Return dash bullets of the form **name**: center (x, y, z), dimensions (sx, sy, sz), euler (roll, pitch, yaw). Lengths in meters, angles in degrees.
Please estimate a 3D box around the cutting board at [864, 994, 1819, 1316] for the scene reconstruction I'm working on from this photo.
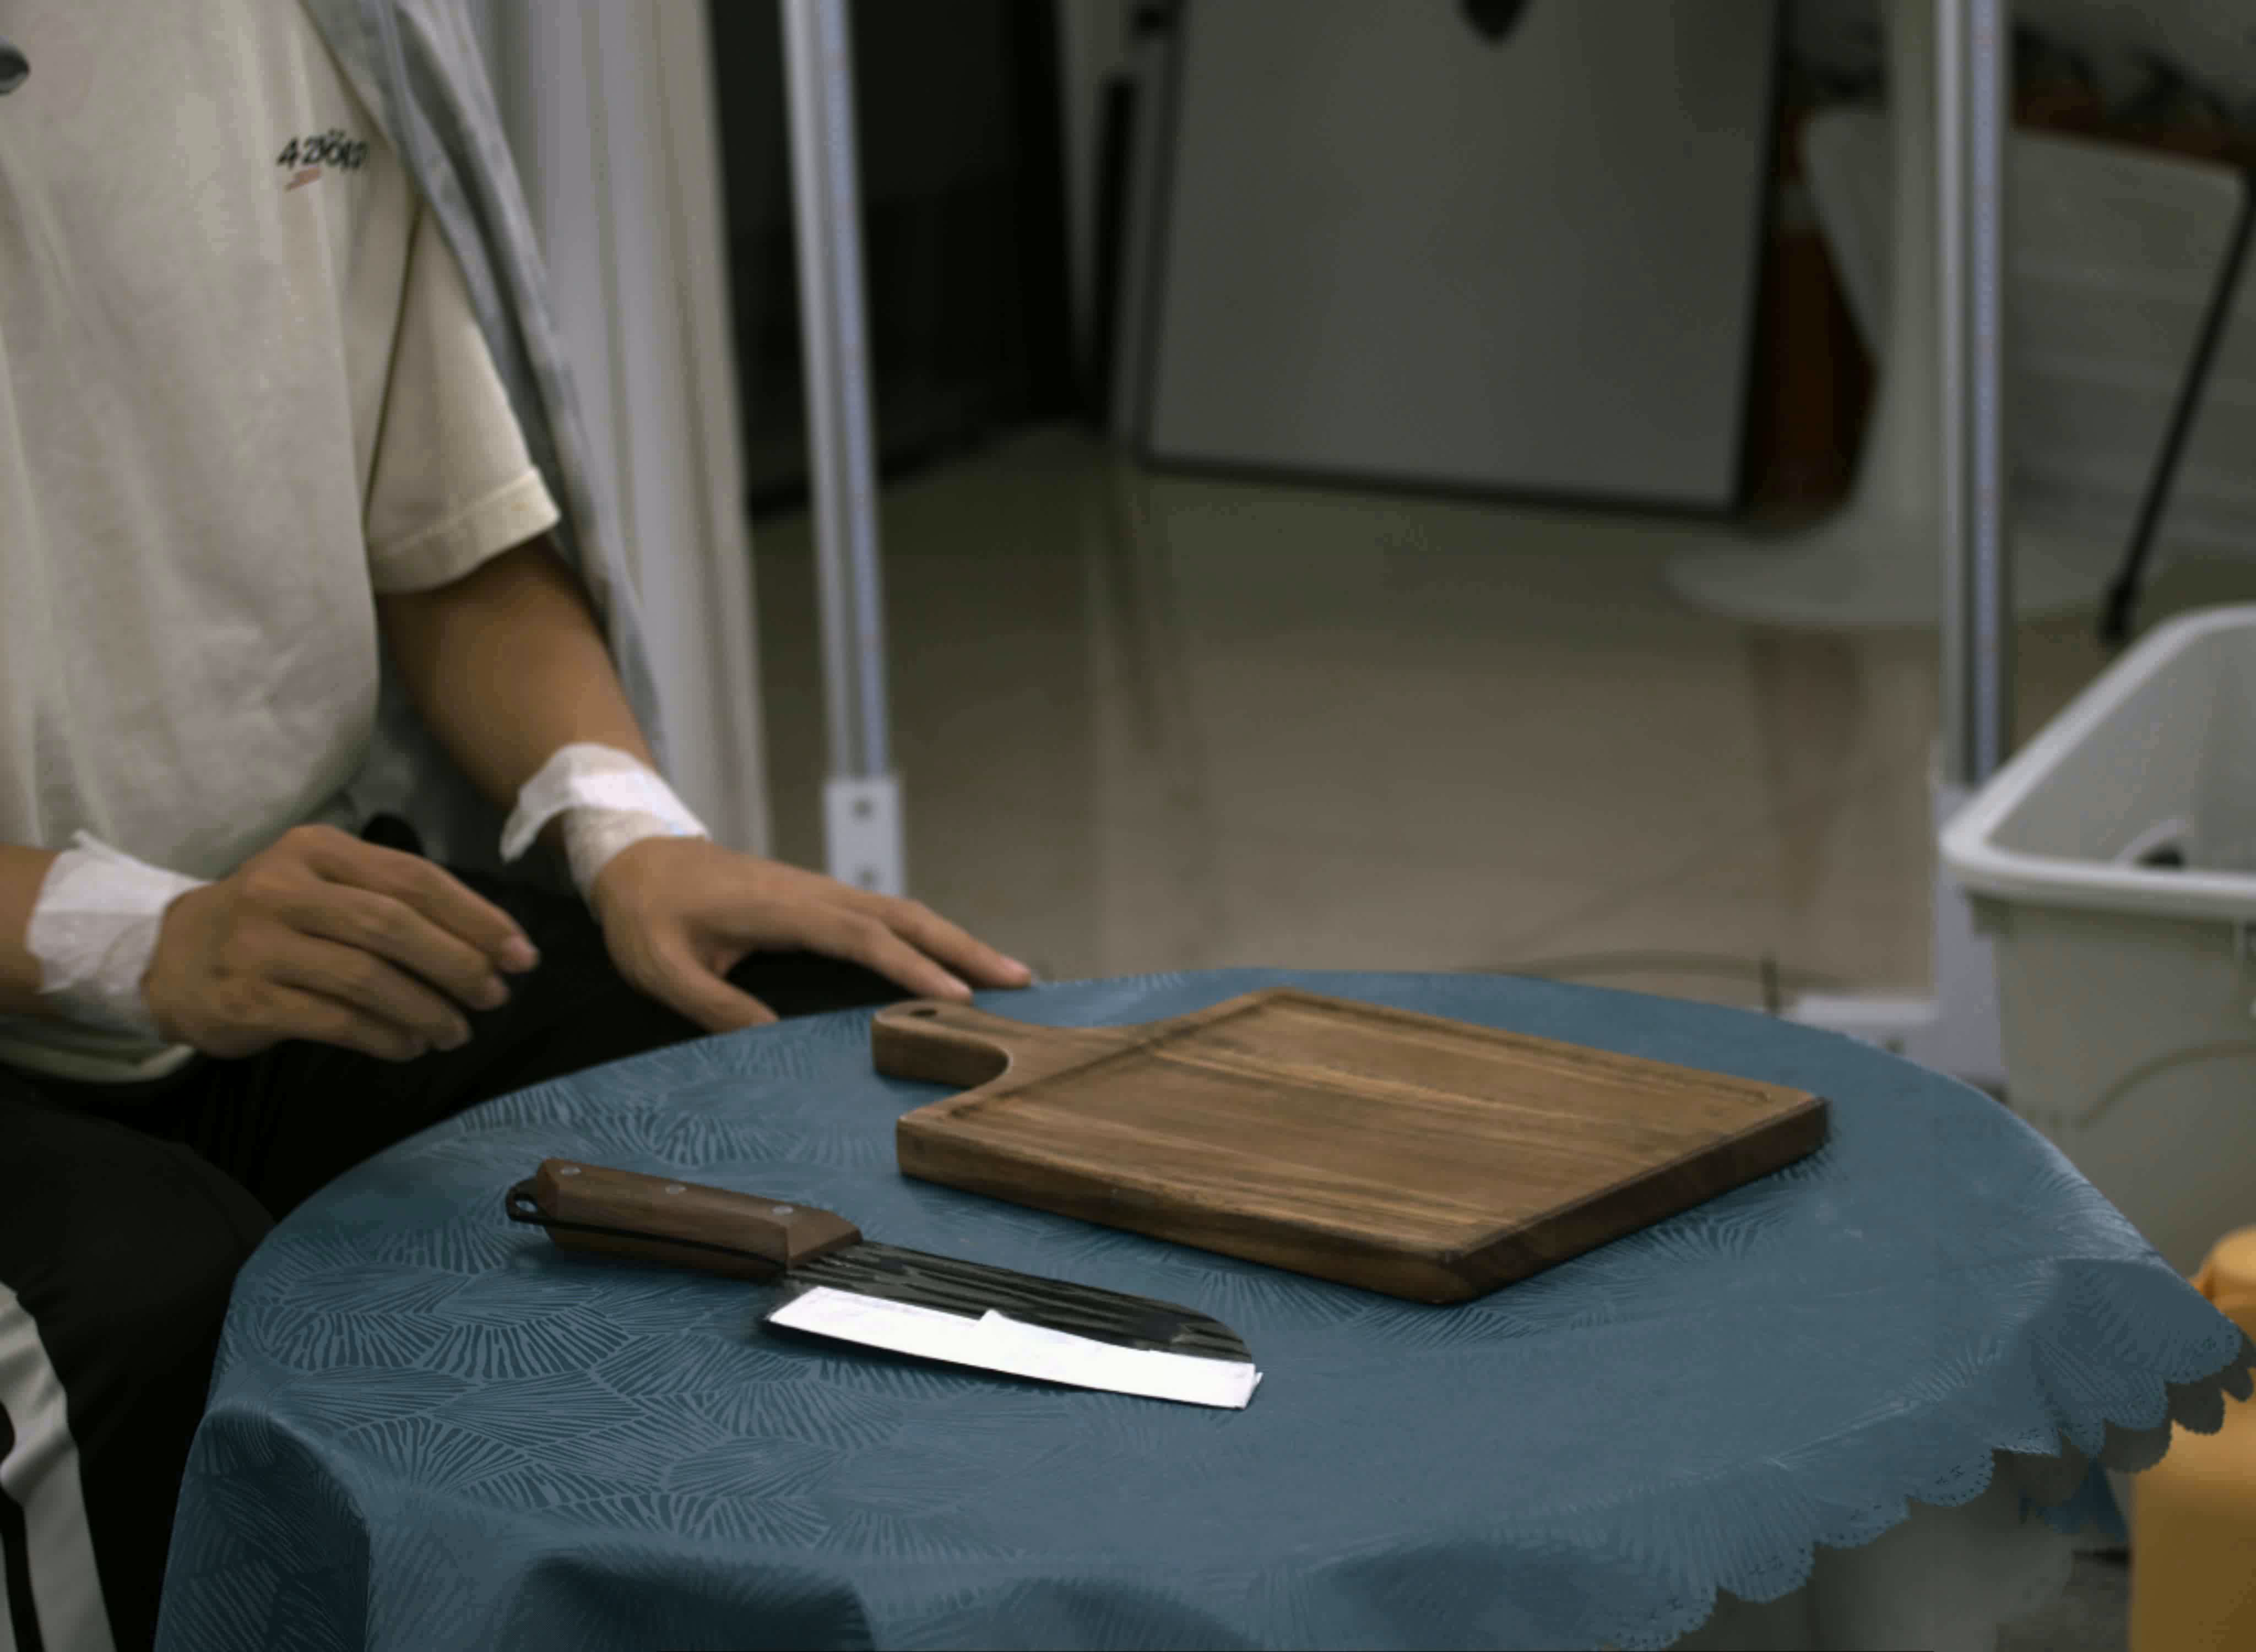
- **cutting board**: center (0.040, 0.099, 1.820), dimensions (0.355, 0.023, 0.197), euler (8, 20, 44)

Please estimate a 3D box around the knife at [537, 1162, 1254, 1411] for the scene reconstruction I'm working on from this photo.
- **knife**: center (-0.080, 0.144, 1.666), dimensions (0.301, 0.024, 0.067), euler (9, 21, 34)
